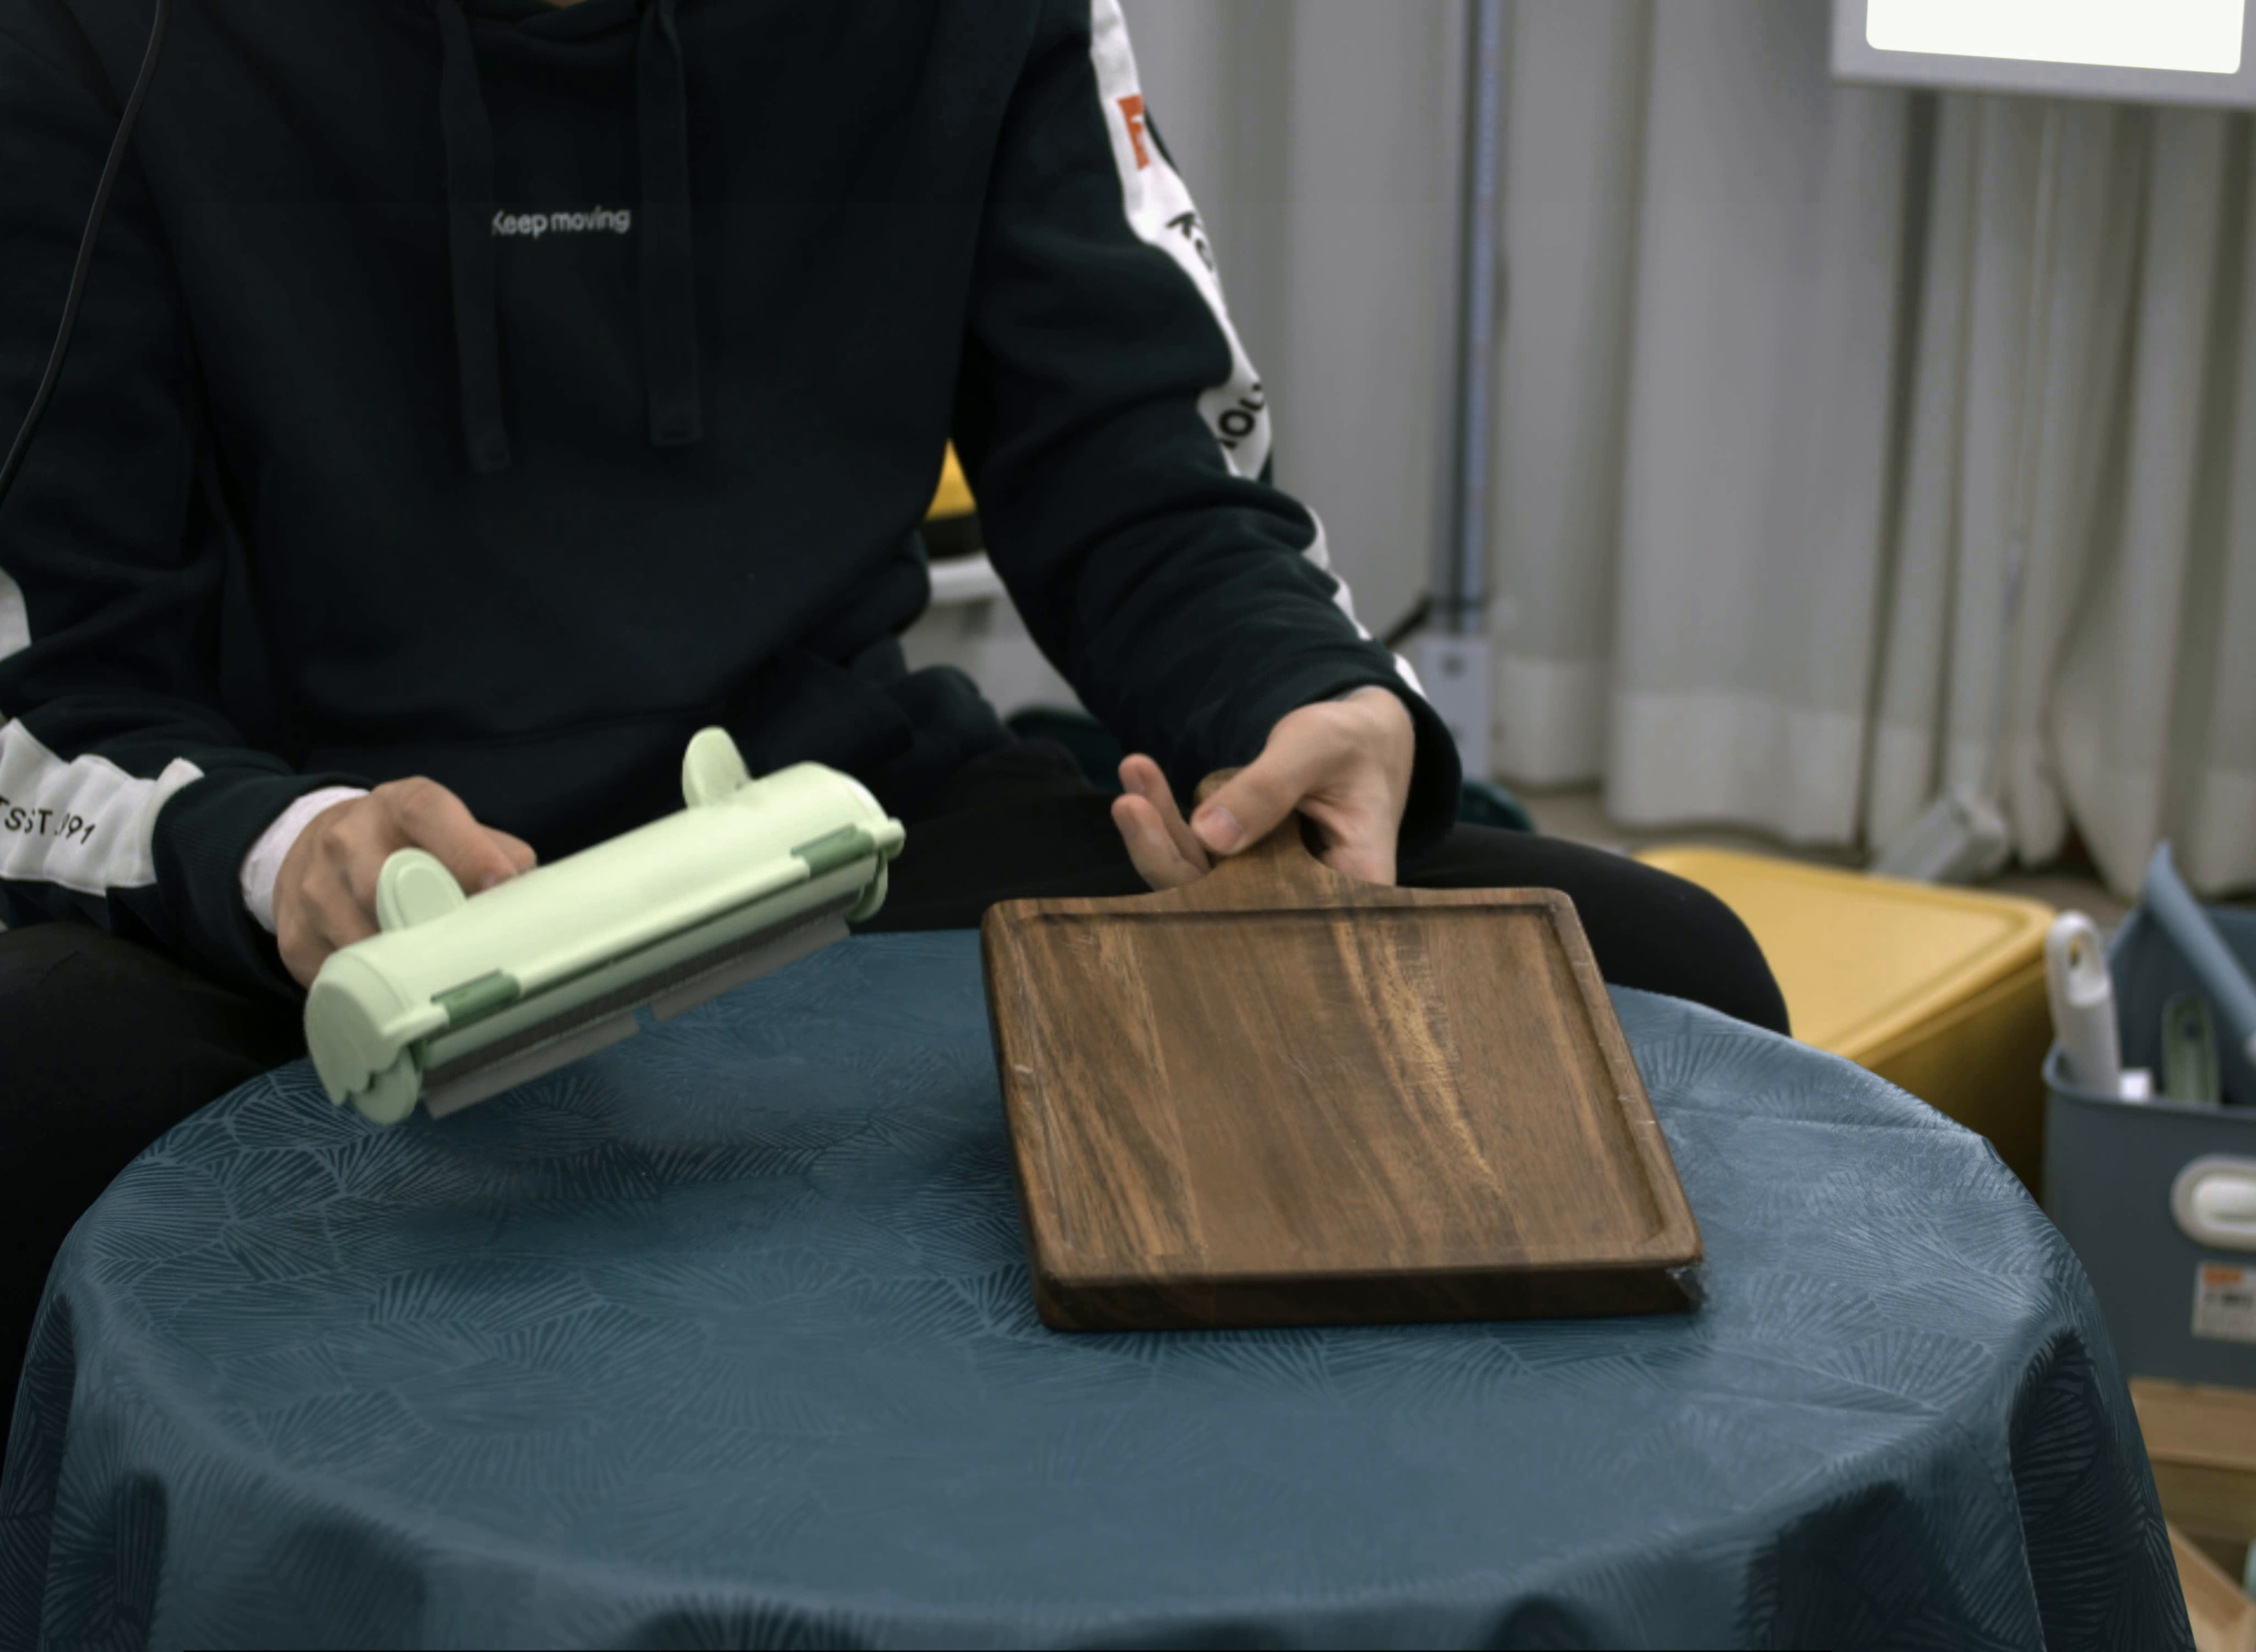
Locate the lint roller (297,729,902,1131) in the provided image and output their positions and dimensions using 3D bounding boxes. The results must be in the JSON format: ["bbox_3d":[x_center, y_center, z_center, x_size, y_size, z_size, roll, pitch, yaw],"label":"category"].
[{"bbox_3d":[-0.197,0.020,1.653,0.199,0.083,0.181,-24,24,-35],"label":"lint roller"}]

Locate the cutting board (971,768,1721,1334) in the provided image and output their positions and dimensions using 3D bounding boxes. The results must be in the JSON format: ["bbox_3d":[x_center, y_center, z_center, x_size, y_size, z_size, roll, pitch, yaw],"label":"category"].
[{"bbox_3d":[0.055,0.062,1.661,0.201,0.023,0.349,-1,25,-6],"label":"cutting board"}]
